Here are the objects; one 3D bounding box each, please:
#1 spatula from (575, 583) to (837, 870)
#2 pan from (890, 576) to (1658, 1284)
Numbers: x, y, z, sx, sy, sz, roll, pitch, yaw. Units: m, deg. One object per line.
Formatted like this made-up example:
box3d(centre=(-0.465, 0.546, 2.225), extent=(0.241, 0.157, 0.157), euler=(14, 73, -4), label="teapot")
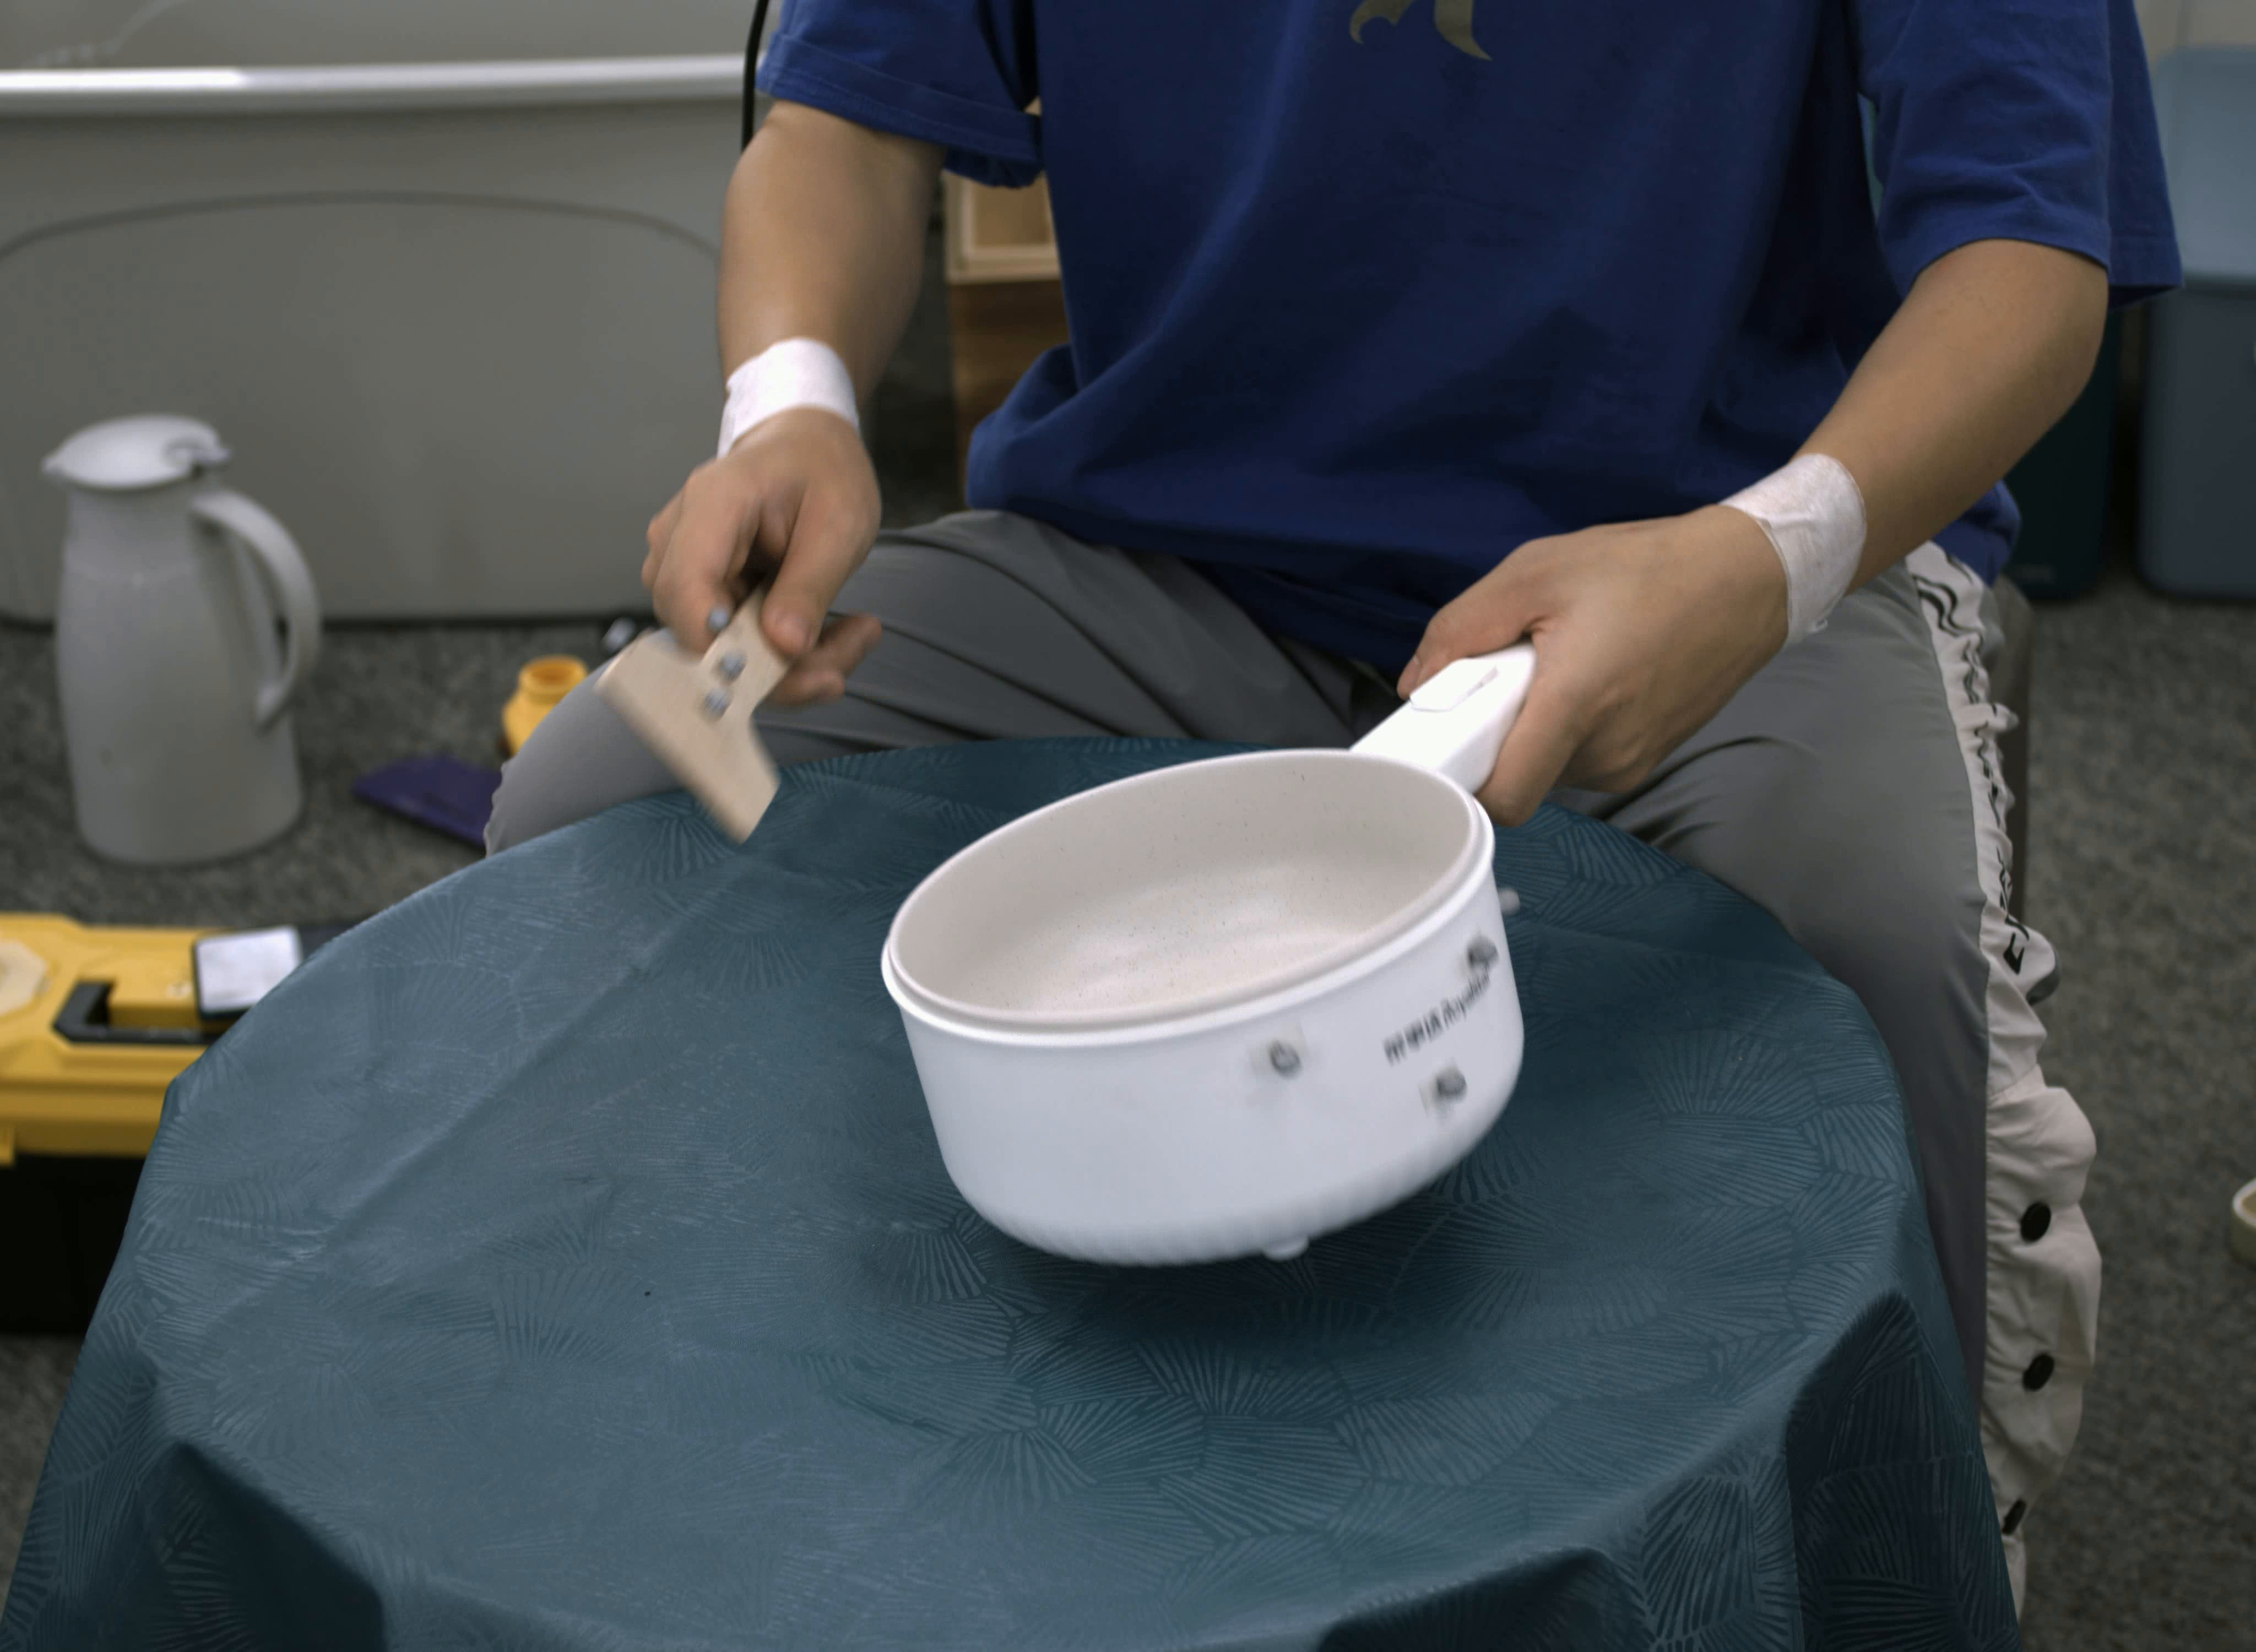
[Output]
box3d(centre=(-0.137, -0.045, 1.941), extent=(0.010, 0.072, 0.296), euler=(-42, 6, 15), label="spatula")
box3d(centre=(0.074, 0.033, 1.871), extent=(0.199, 0.101, 0.360), euler=(3, 28, 37), label="pan")
